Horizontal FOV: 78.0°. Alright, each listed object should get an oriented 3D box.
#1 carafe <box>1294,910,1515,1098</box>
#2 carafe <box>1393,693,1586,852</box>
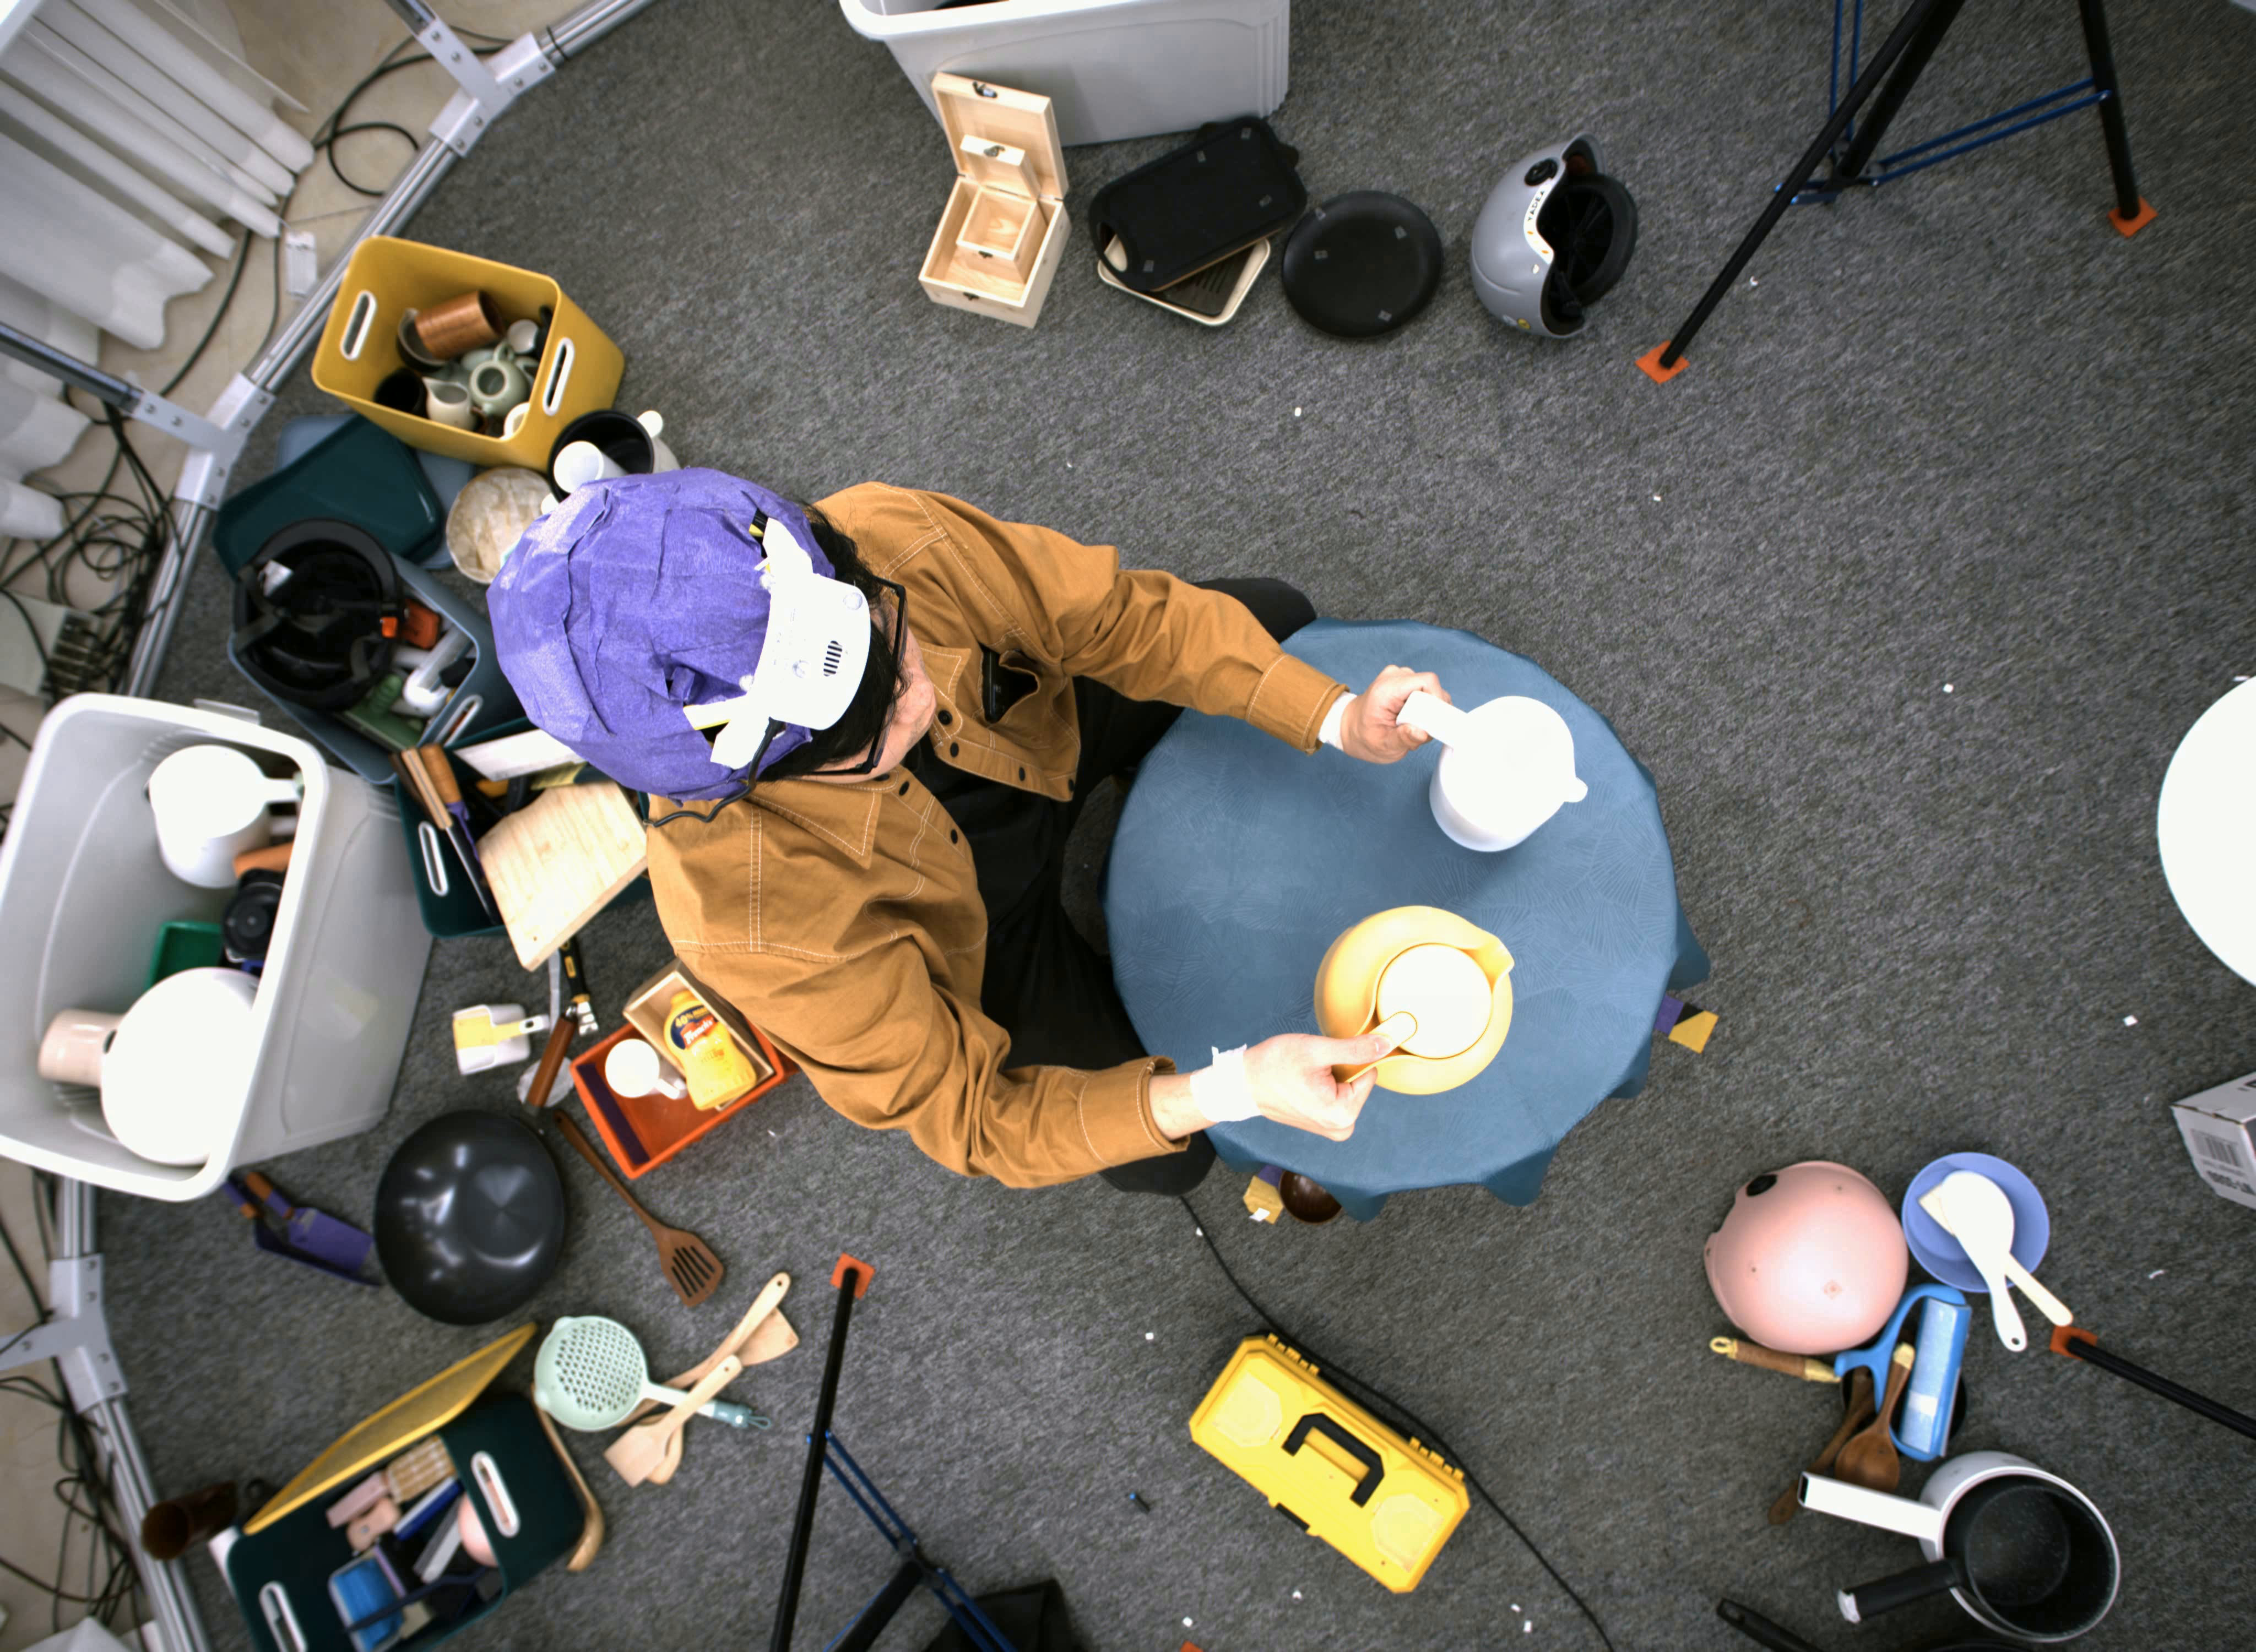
[{"bbox_3d":[0.230,0.162,1.193,0.202,0.262,0.162,-34,80,-1],"label":"carafe"},{"bbox_3d":[0.327,-0.053,1.274,0.172,0.268,0.124,29,92,12],"label":"carafe"}]
